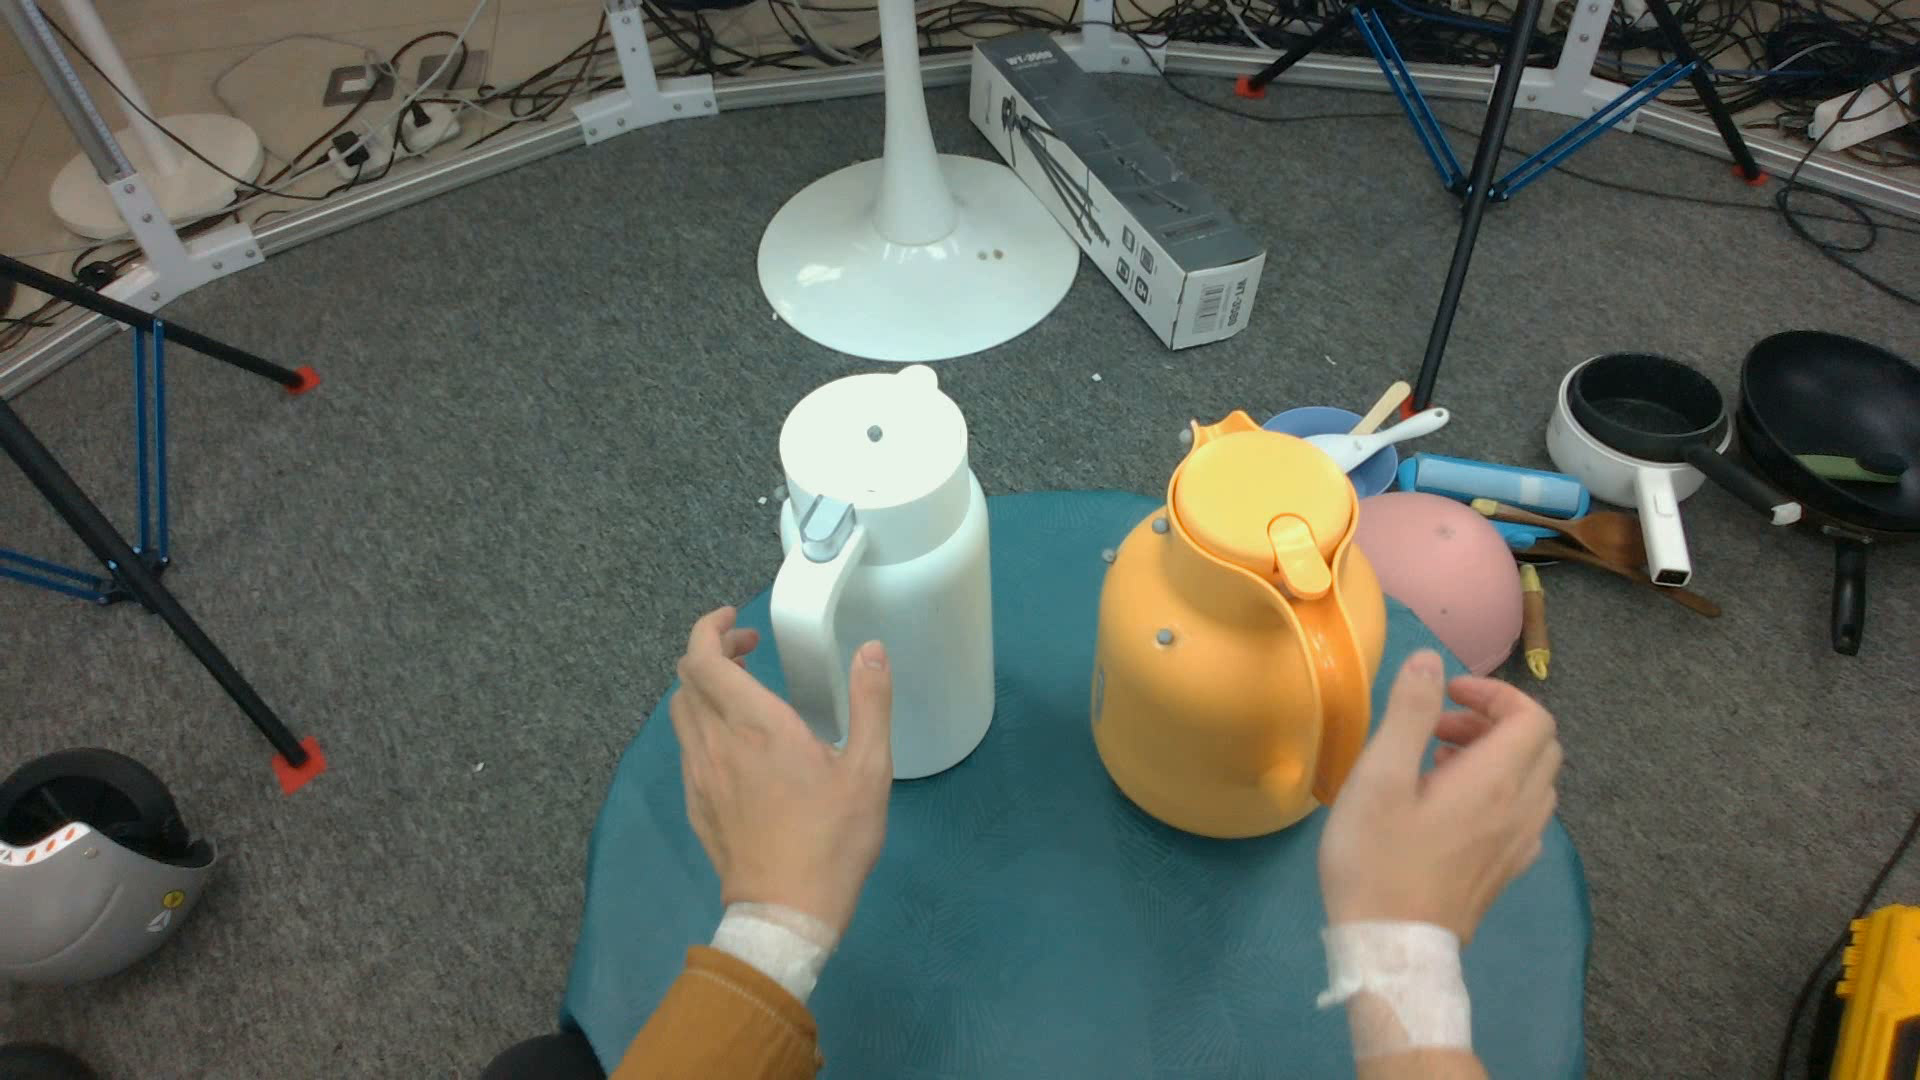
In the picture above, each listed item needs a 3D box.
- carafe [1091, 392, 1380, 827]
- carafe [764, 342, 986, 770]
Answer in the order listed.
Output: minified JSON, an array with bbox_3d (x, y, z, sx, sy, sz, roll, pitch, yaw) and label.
[{"bbox_3d":[0.160,0.058,0.784,0.163,0.259,0.203,-12,50,-4],"label":"carafe"},{"bbox_3d":[-0.050,0.035,0.806,0.124,0.267,0.173,17,53,13],"label":"carafe"}]
